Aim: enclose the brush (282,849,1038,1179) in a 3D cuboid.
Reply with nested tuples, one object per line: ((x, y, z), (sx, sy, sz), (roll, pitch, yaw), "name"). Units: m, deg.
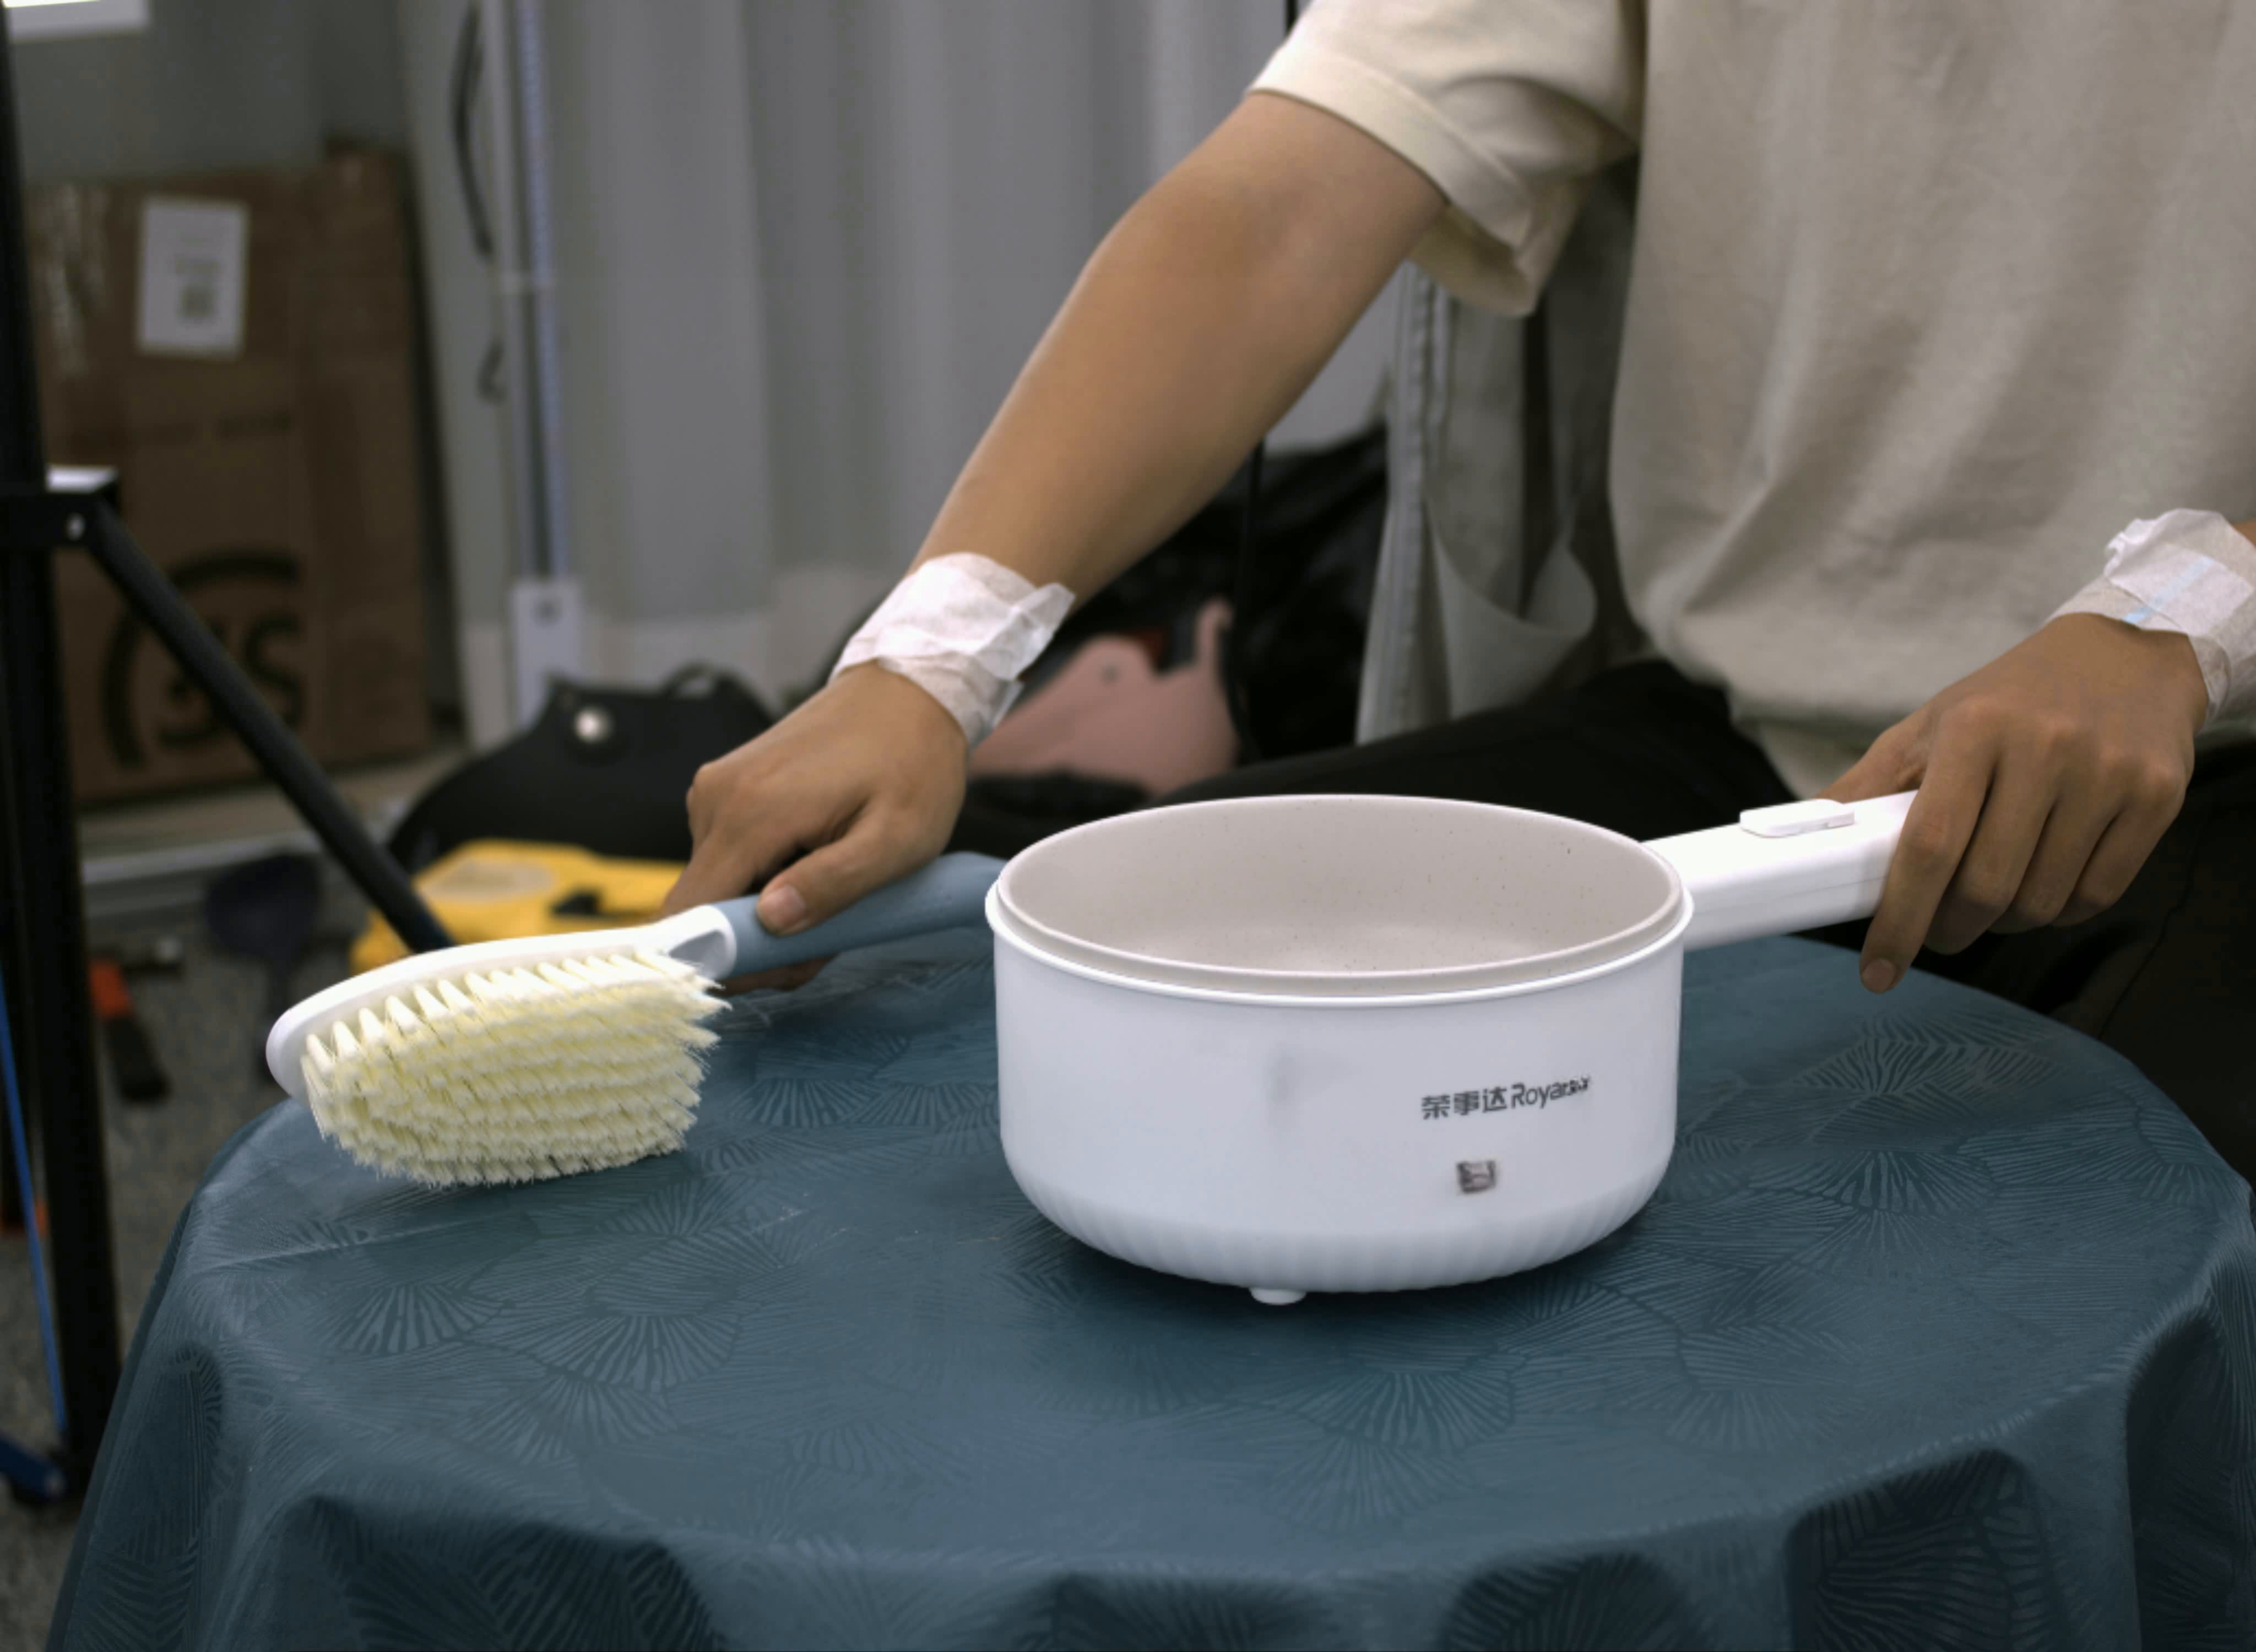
((-0.117, 0.052, 1.655), (0.317, 0.085, 0.084), (-11, -20, -46), "brush")

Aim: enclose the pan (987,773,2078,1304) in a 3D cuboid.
((0.126, 0.054, 1.547), (0.347, 0.102, 0.205), (-8, 16, -28), "pan")
